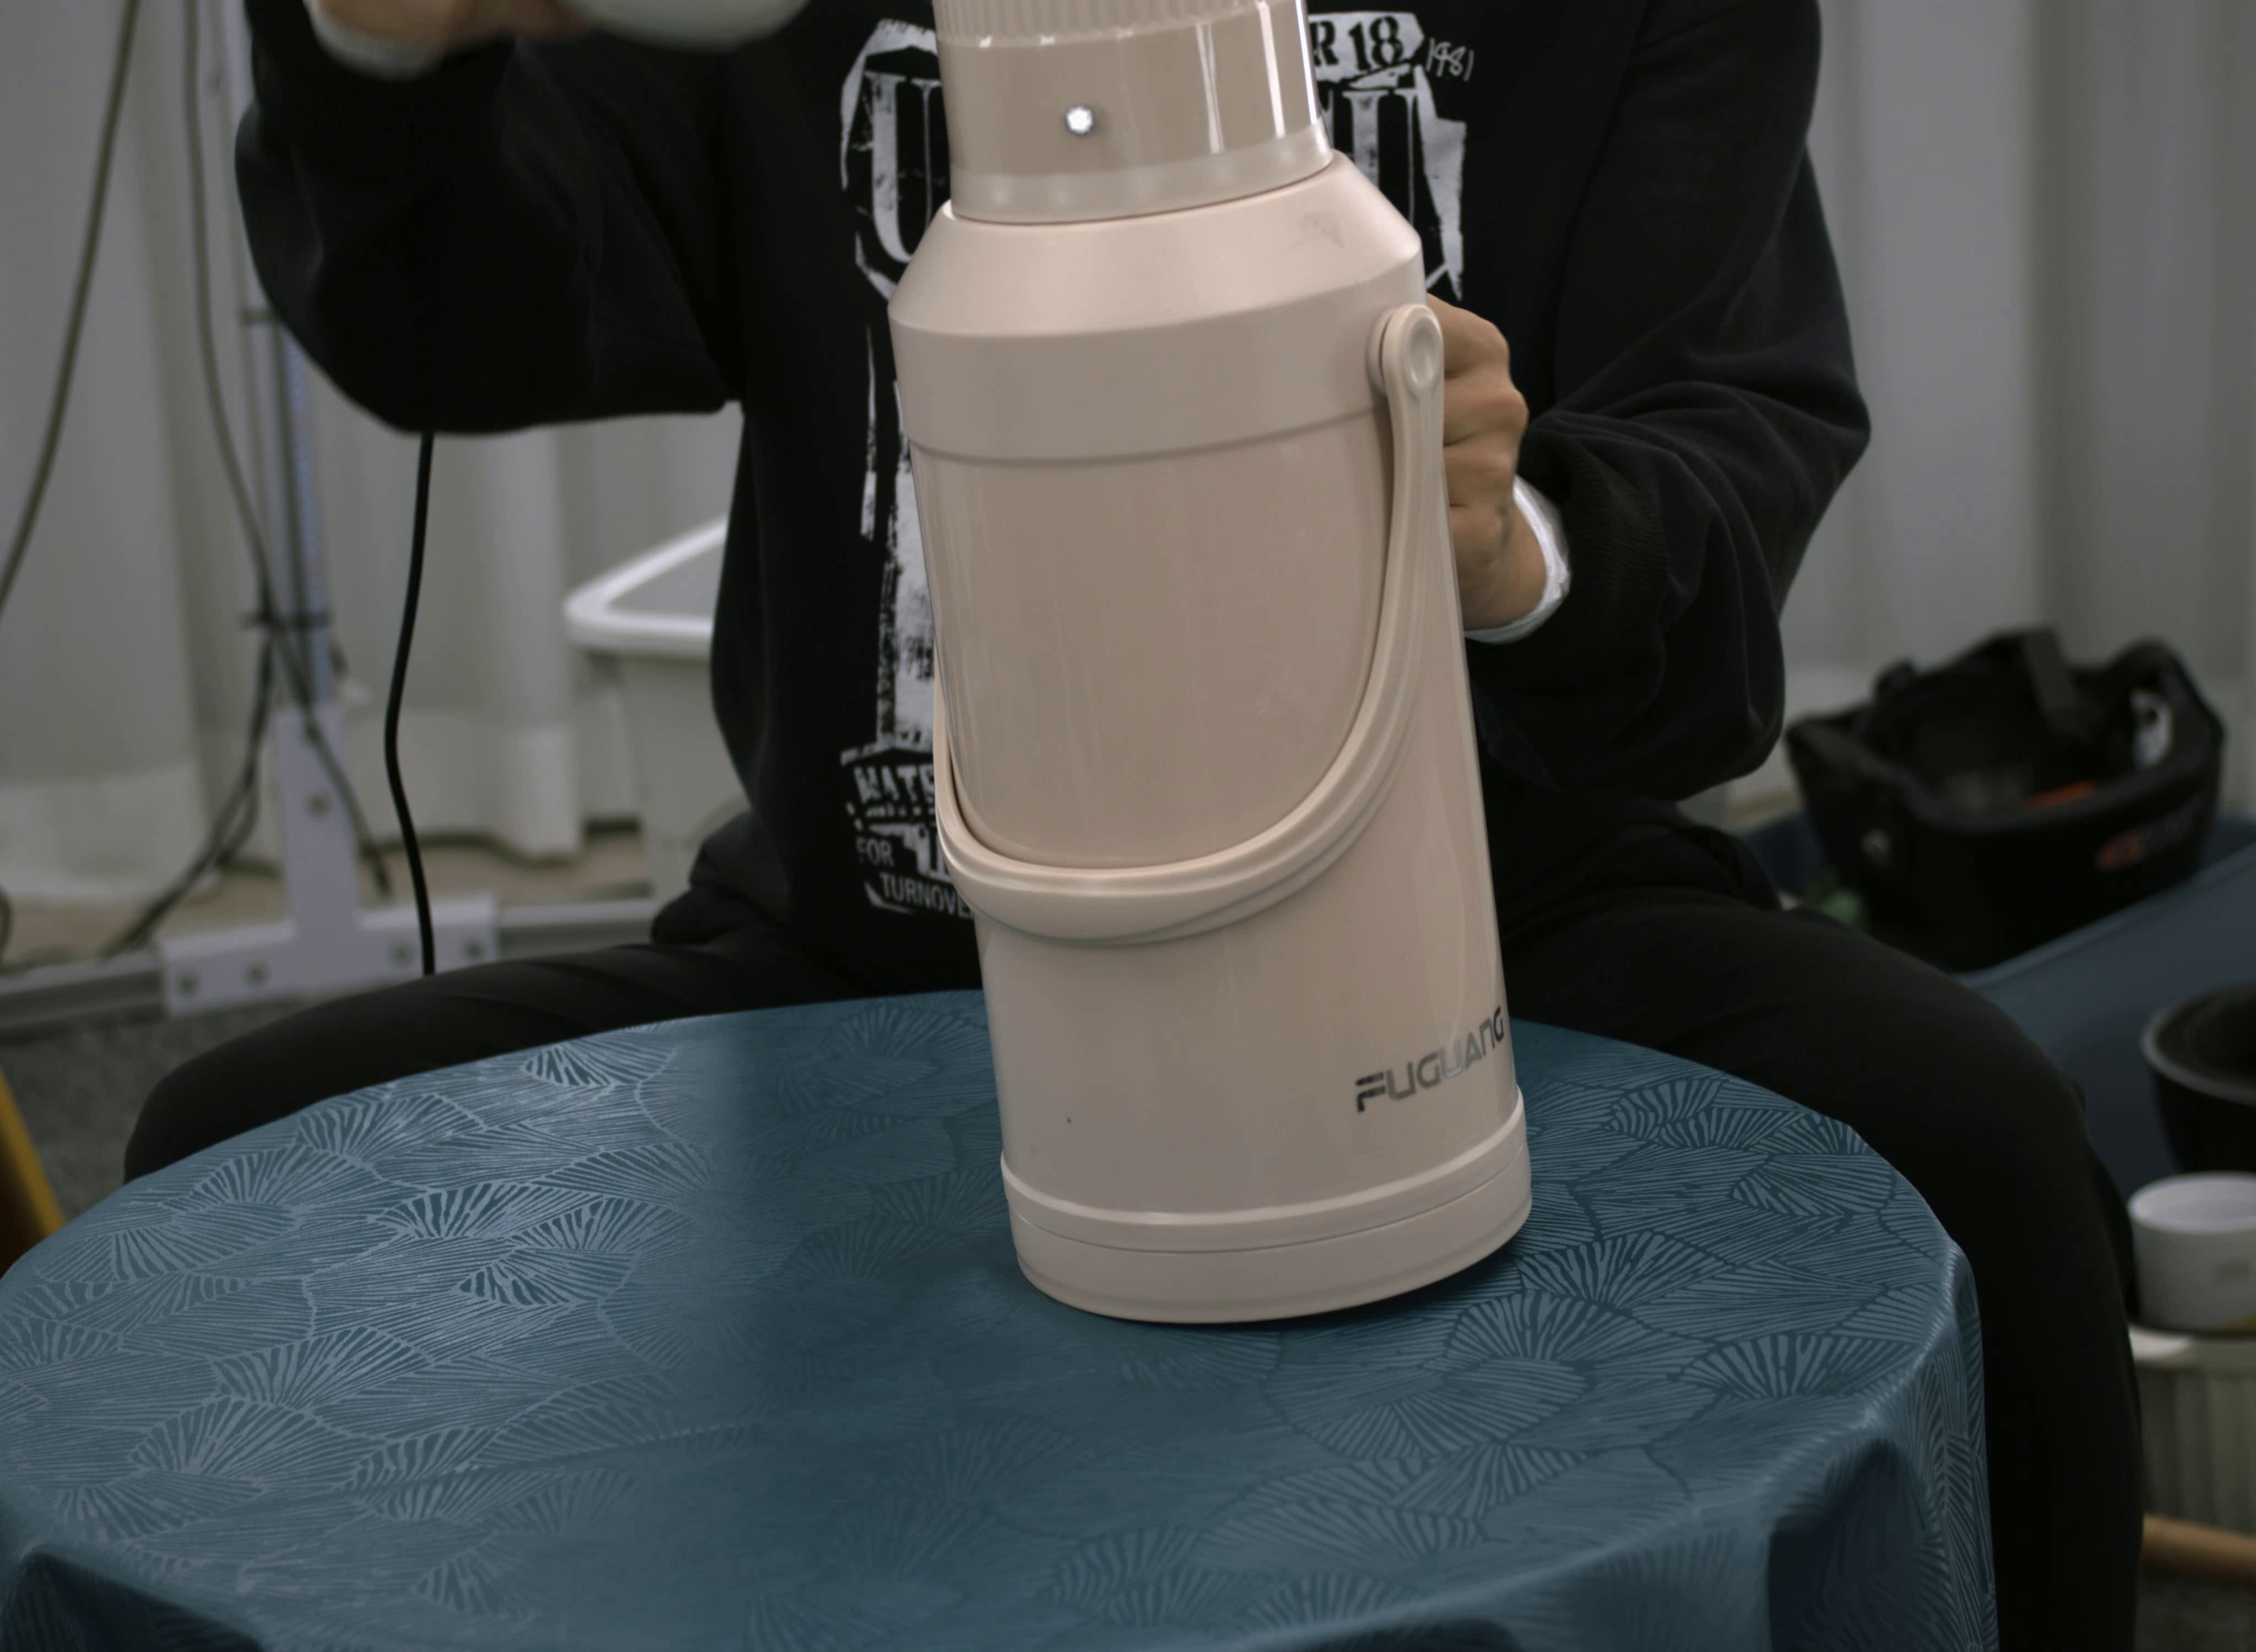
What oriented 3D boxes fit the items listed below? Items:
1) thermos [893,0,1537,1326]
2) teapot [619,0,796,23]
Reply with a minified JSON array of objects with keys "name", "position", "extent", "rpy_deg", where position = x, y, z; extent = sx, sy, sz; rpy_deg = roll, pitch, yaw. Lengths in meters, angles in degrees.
[{"name":"thermos","position":[0.029,-0.071,1.621],"extent":[0.175,0.404,0.207],"rpy_deg":[1,17,32]},{"name":"teapot","position":[-0.137,-0.273,1.594],"extent":[0.128,0.059,0.092],"rpy_deg":[20,23,11]}]
